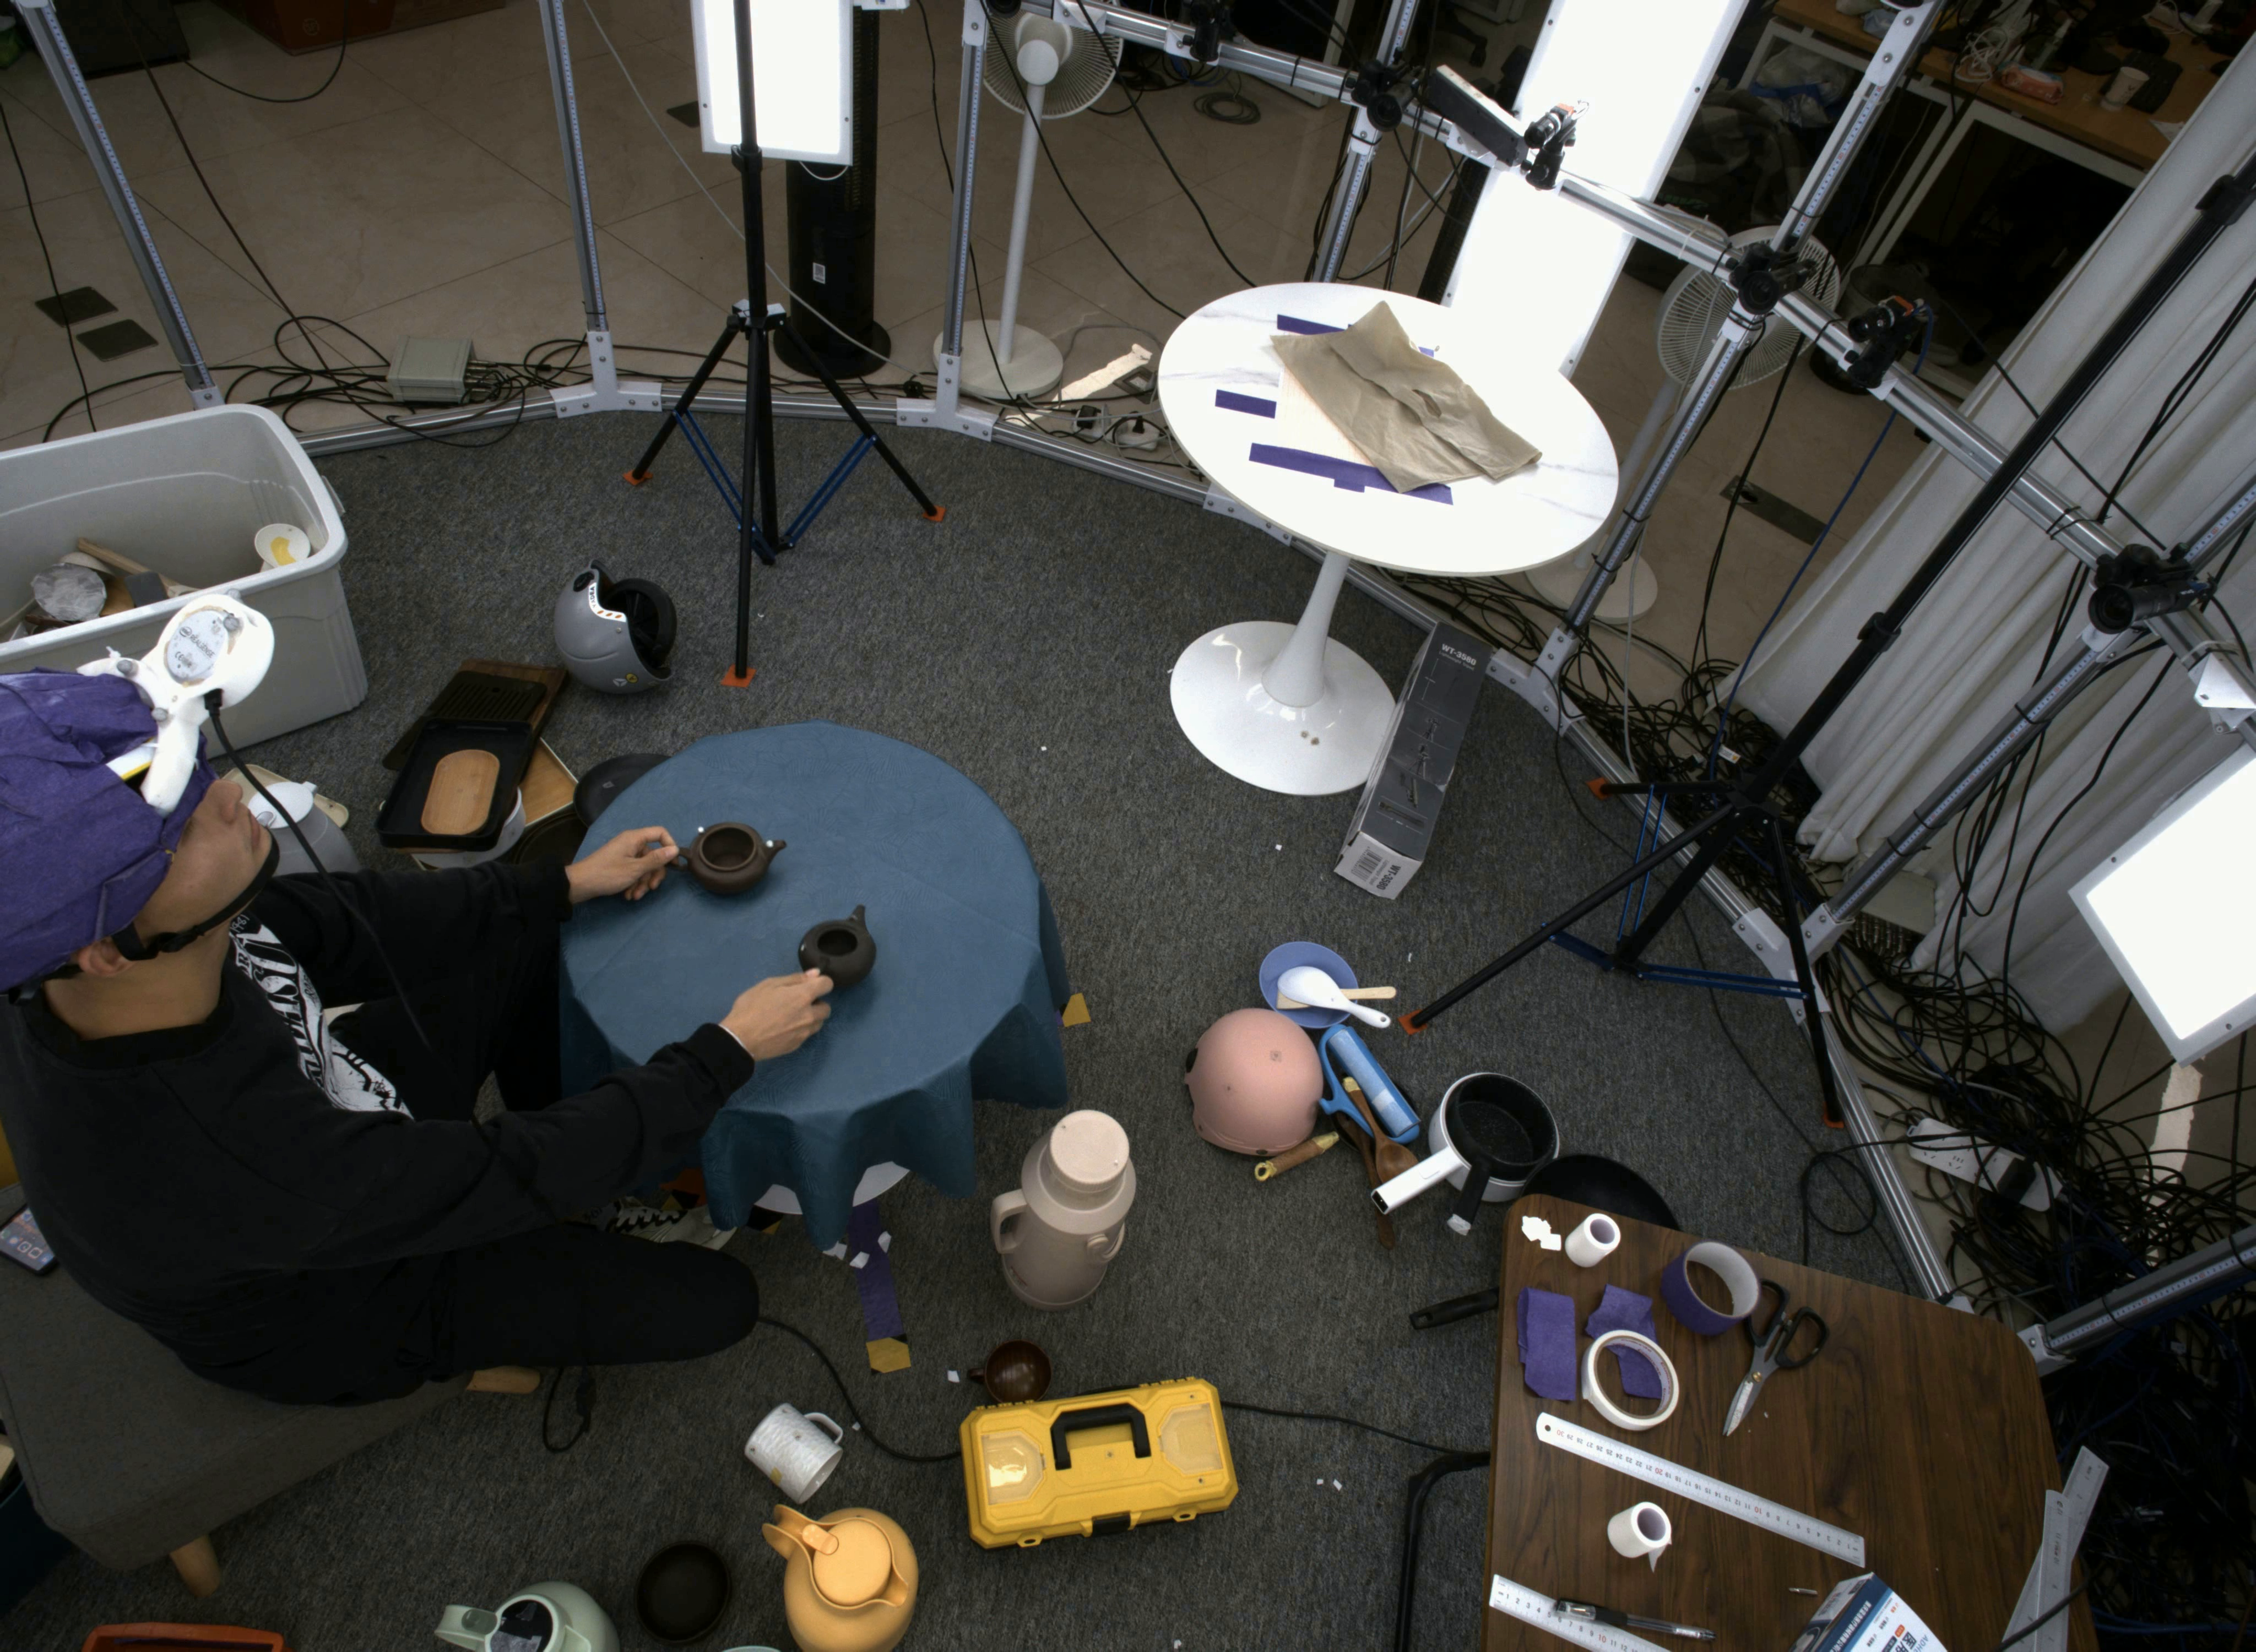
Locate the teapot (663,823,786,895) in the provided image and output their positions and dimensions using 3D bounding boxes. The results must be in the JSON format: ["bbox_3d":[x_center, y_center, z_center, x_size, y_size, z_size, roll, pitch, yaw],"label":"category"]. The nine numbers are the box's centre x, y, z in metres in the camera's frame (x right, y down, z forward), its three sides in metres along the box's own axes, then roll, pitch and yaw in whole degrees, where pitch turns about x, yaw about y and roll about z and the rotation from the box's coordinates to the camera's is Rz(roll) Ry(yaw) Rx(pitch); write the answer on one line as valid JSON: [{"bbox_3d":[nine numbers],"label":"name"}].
[{"bbox_3d":[-0.510,0.039,1.634,0.154,0.055,0.100,-8,54,-20],"label":"teapot"}]

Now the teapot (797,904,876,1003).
[{"bbox_3d":[-0.353,0.154,1.567,0.090,0.066,0.152,16,40,9],"label":"teapot"}]
